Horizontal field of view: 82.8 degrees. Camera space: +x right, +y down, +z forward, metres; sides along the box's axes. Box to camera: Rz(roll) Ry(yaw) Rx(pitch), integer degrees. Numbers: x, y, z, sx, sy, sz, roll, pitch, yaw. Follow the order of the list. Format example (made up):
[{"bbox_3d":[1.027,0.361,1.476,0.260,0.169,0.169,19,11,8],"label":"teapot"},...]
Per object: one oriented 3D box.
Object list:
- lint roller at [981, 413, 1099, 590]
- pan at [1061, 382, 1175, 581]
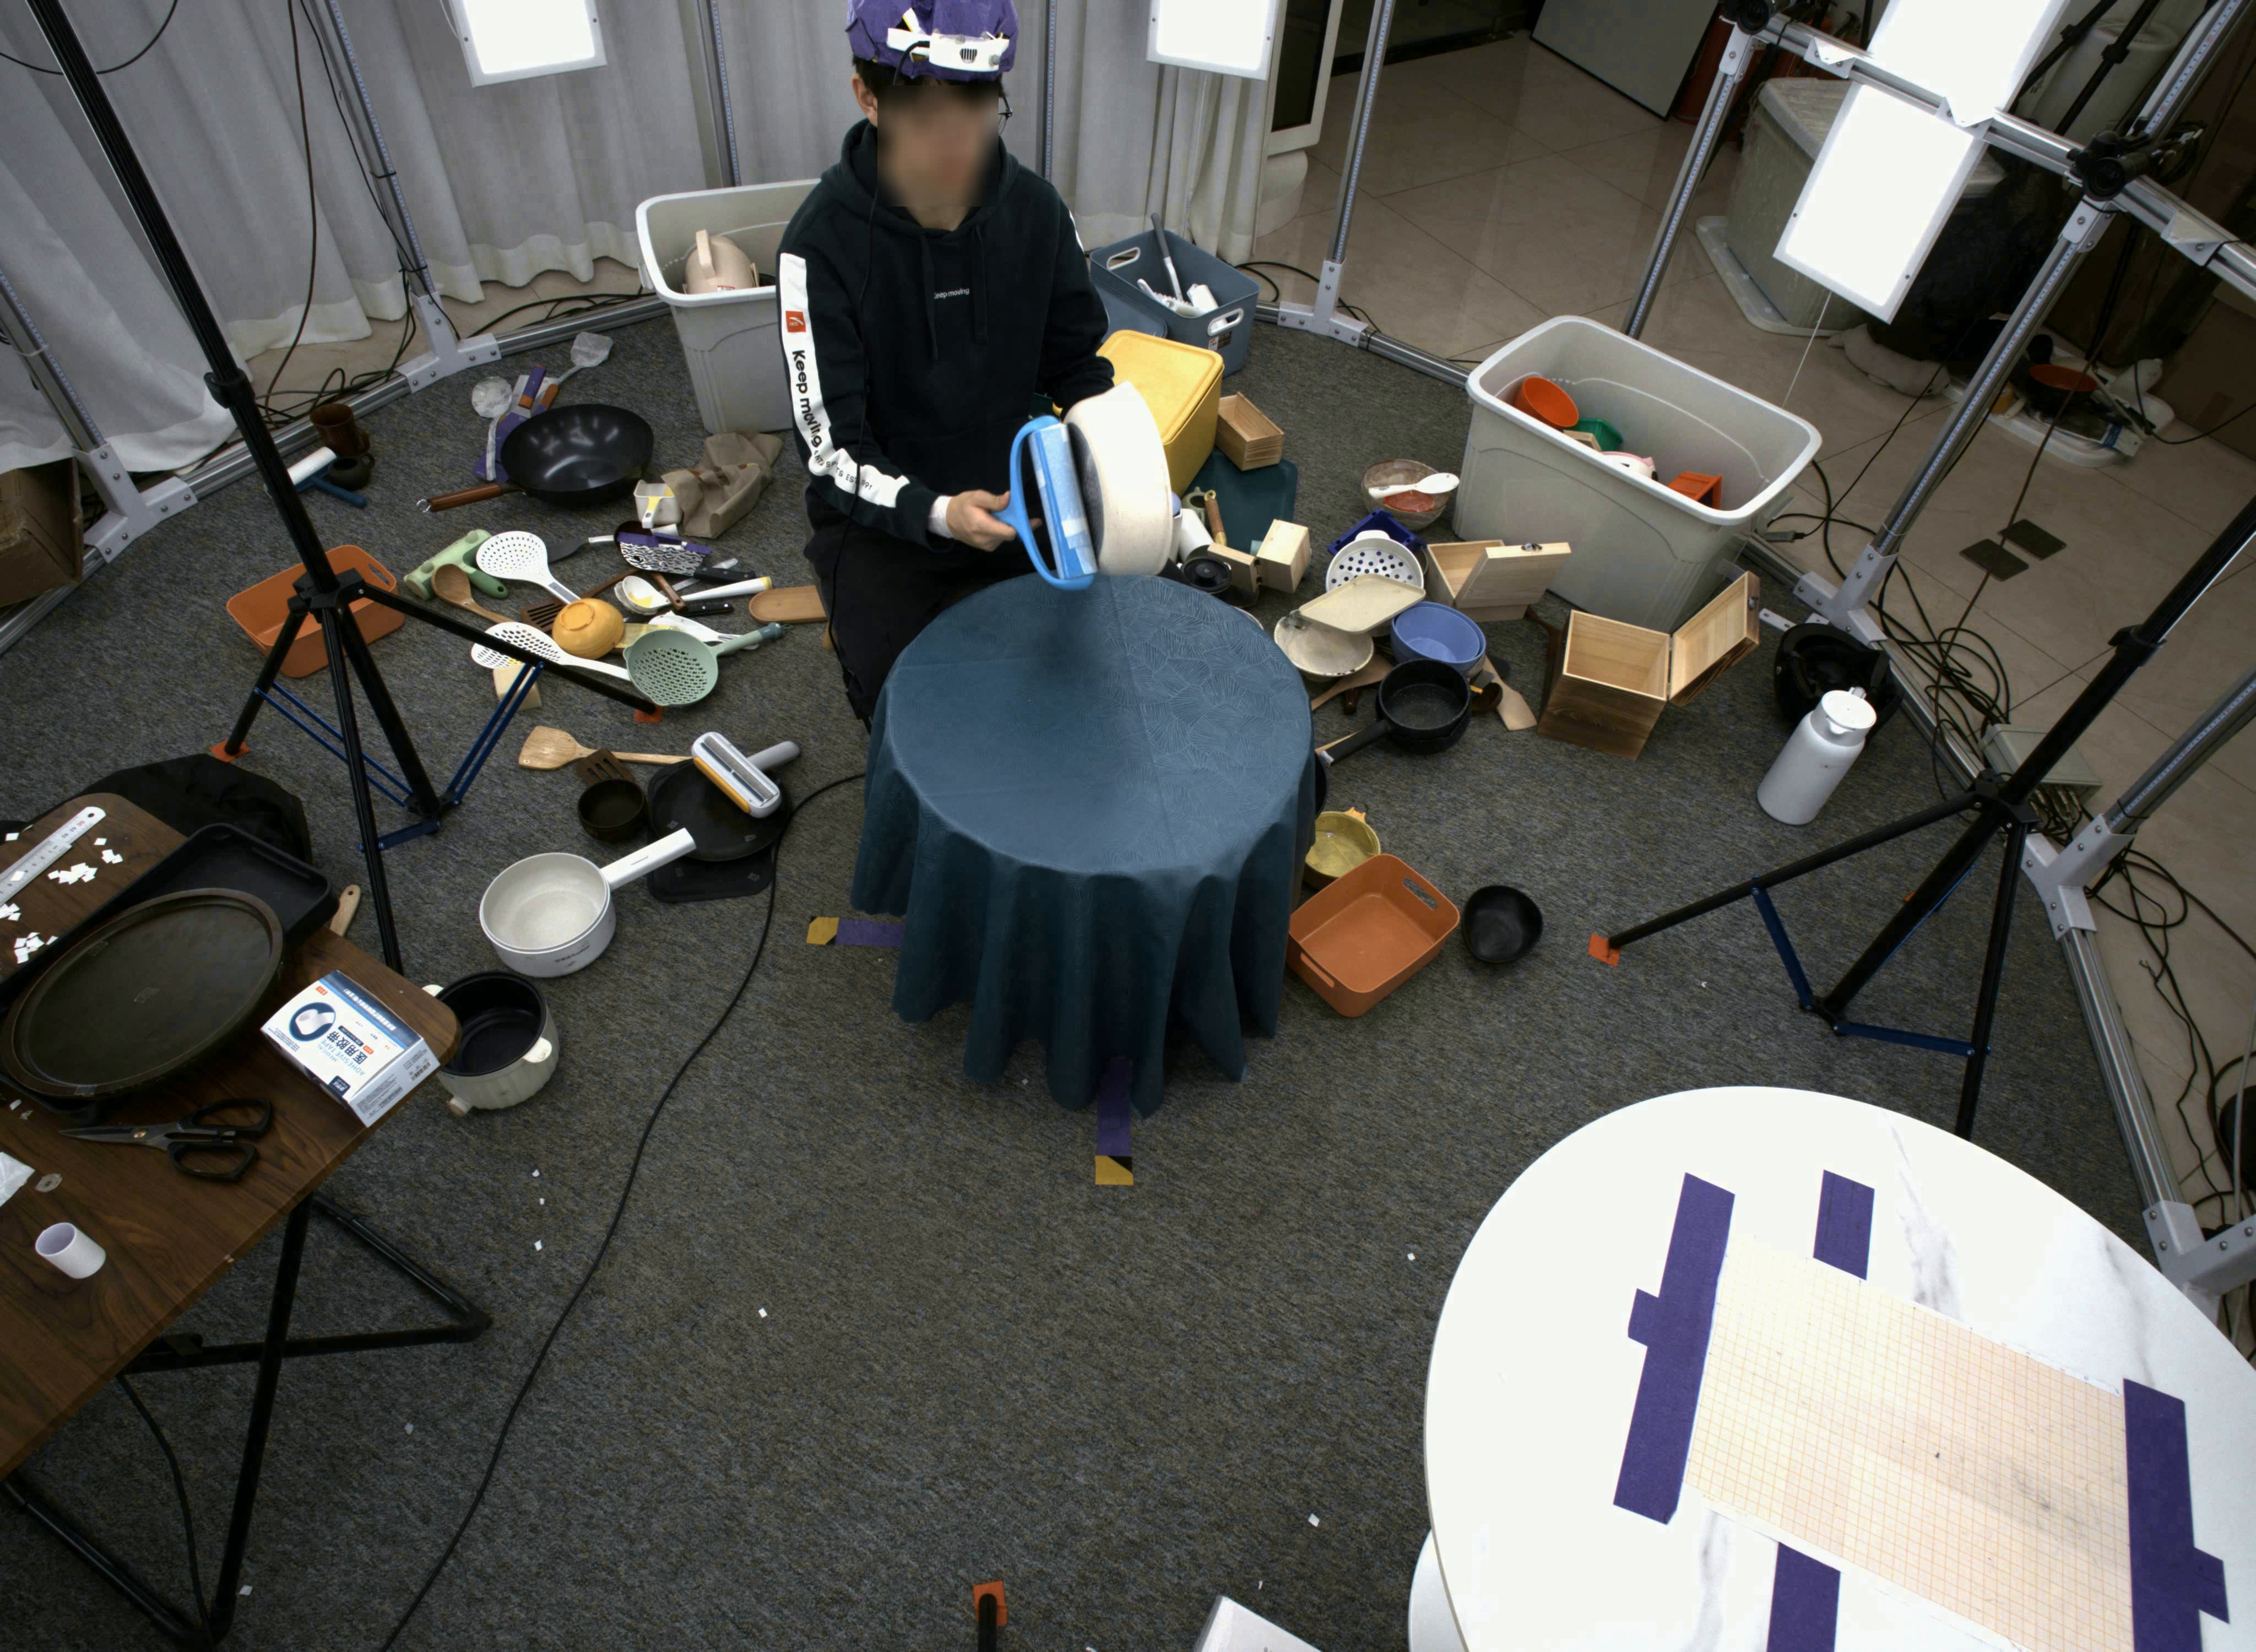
[{"bbox_3d":[-0.136,-0.415,1.720,0.180,0.227,0.068,-10,11,33],"label":"lint roller"},{"bbox_3d":[-0.046,-0.479,1.802,0.102,0.259,0.442,-15,23,-14],"label":"pan"}]
